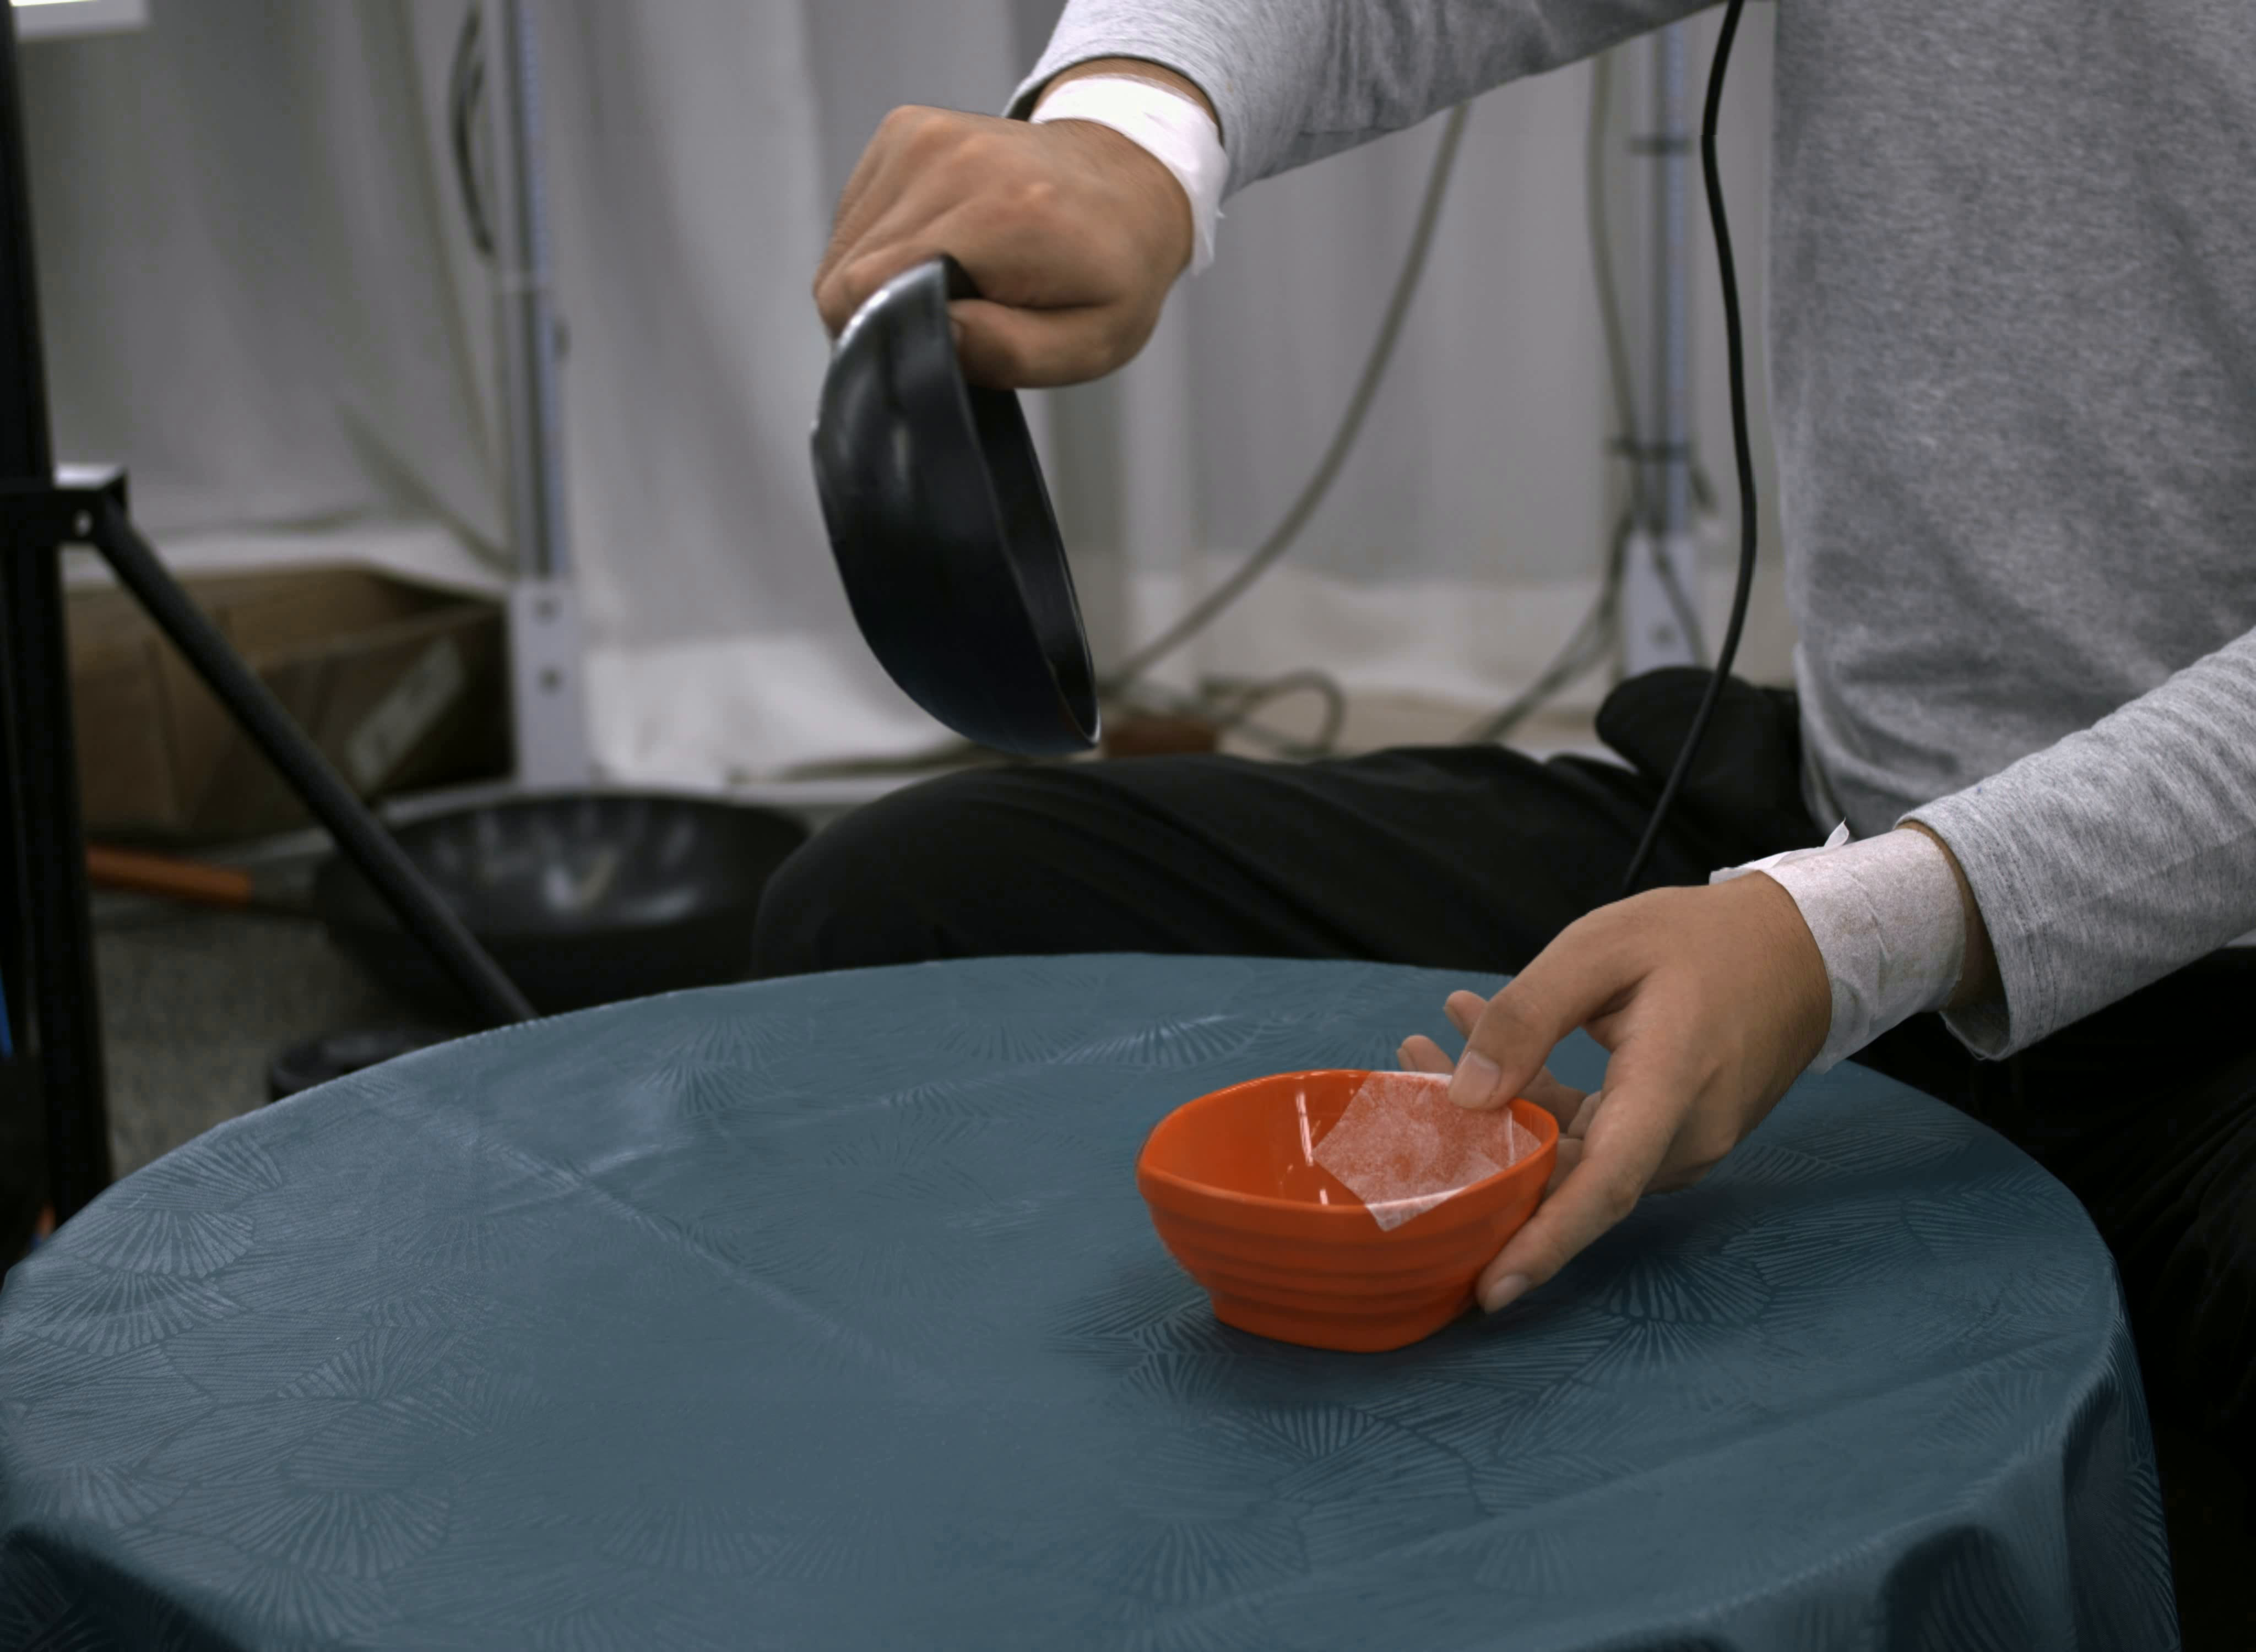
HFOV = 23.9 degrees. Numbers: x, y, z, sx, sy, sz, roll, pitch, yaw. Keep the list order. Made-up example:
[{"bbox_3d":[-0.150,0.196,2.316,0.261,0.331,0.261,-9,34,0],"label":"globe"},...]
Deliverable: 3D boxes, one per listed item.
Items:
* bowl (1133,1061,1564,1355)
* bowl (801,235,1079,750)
[{"bbox_3d":[0.062,0.107,1.454,0.118,0.051,0.119,-5,17,0],"label":"bowl"},{"bbox_3d":[-0.054,-0.083,1.414,0.050,0.139,0.140,-15,15,3],"label":"bowl"}]
